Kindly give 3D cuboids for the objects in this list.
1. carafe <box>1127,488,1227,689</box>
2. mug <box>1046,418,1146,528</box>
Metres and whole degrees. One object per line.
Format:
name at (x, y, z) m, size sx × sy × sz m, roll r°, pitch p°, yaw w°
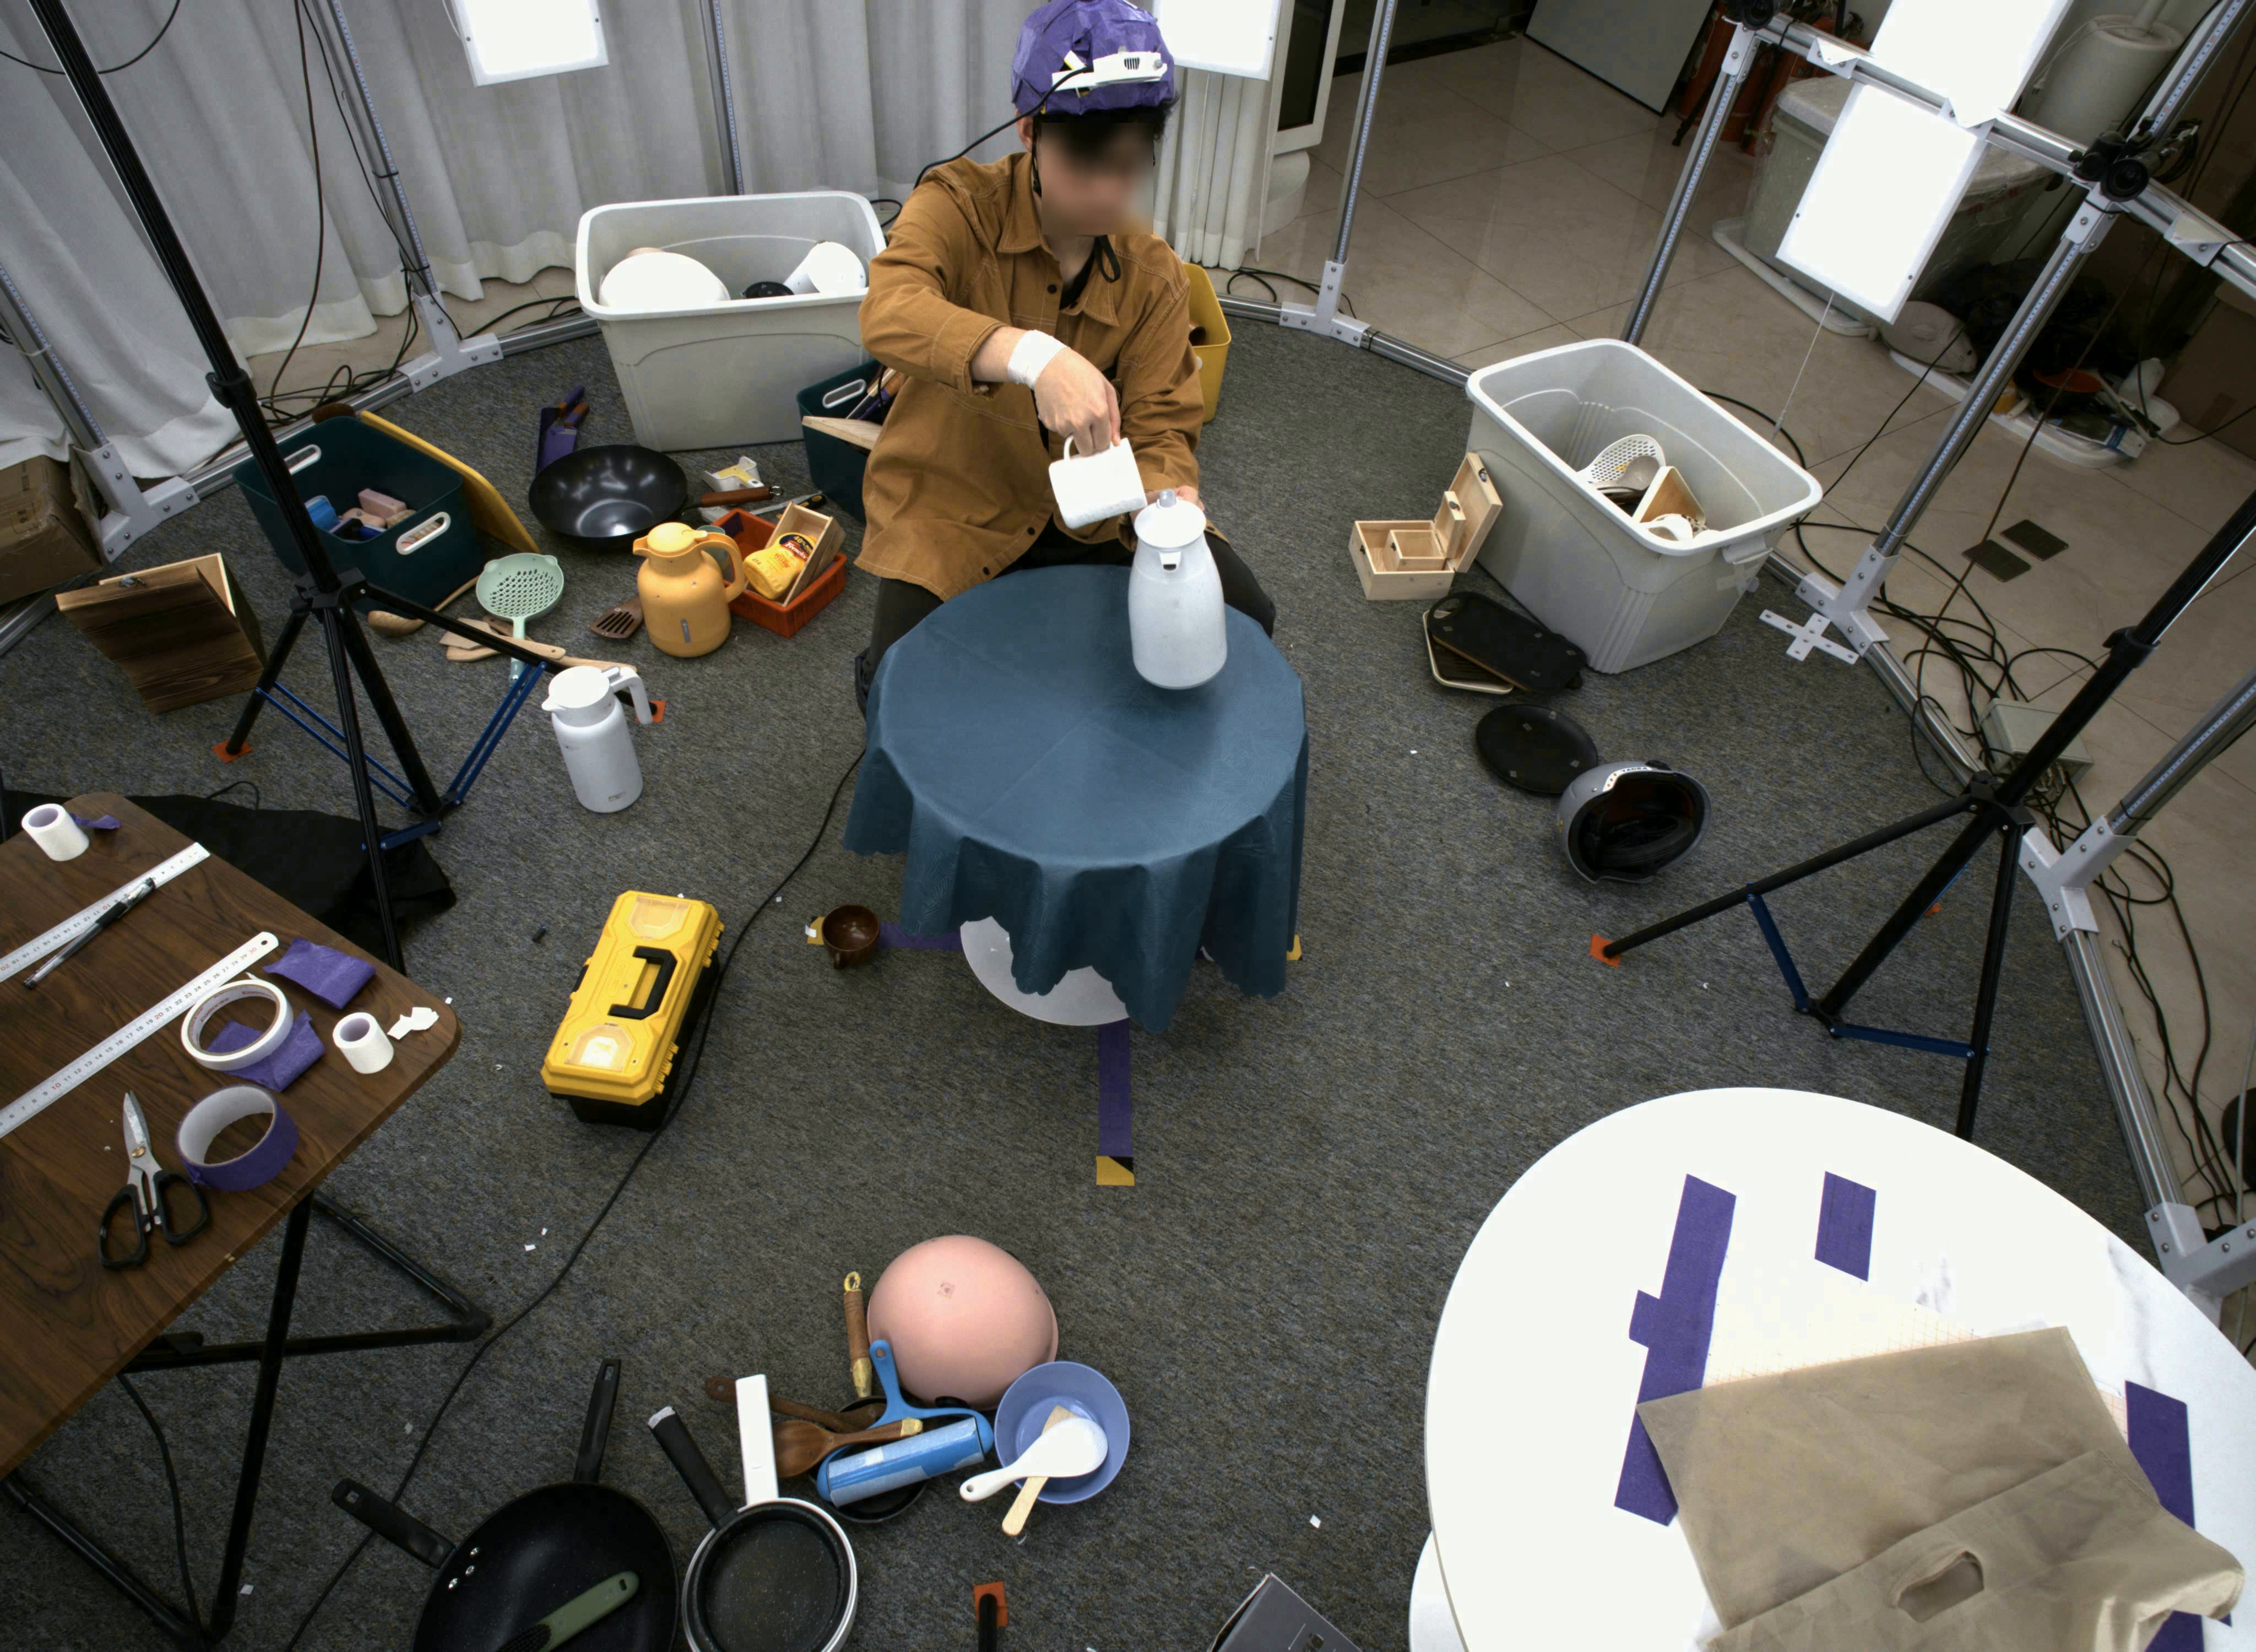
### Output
carafe at (0.060, -0.330, 1.726) m, size 0.132 × 0.242 × 0.172 m, roll -3°, pitch 51°, yaw 5°
mug at (-0.044, -0.428, 1.558) m, size 0.102 × 0.115 × 0.087 m, roll -17°, pitch 37°, yaw 7°
